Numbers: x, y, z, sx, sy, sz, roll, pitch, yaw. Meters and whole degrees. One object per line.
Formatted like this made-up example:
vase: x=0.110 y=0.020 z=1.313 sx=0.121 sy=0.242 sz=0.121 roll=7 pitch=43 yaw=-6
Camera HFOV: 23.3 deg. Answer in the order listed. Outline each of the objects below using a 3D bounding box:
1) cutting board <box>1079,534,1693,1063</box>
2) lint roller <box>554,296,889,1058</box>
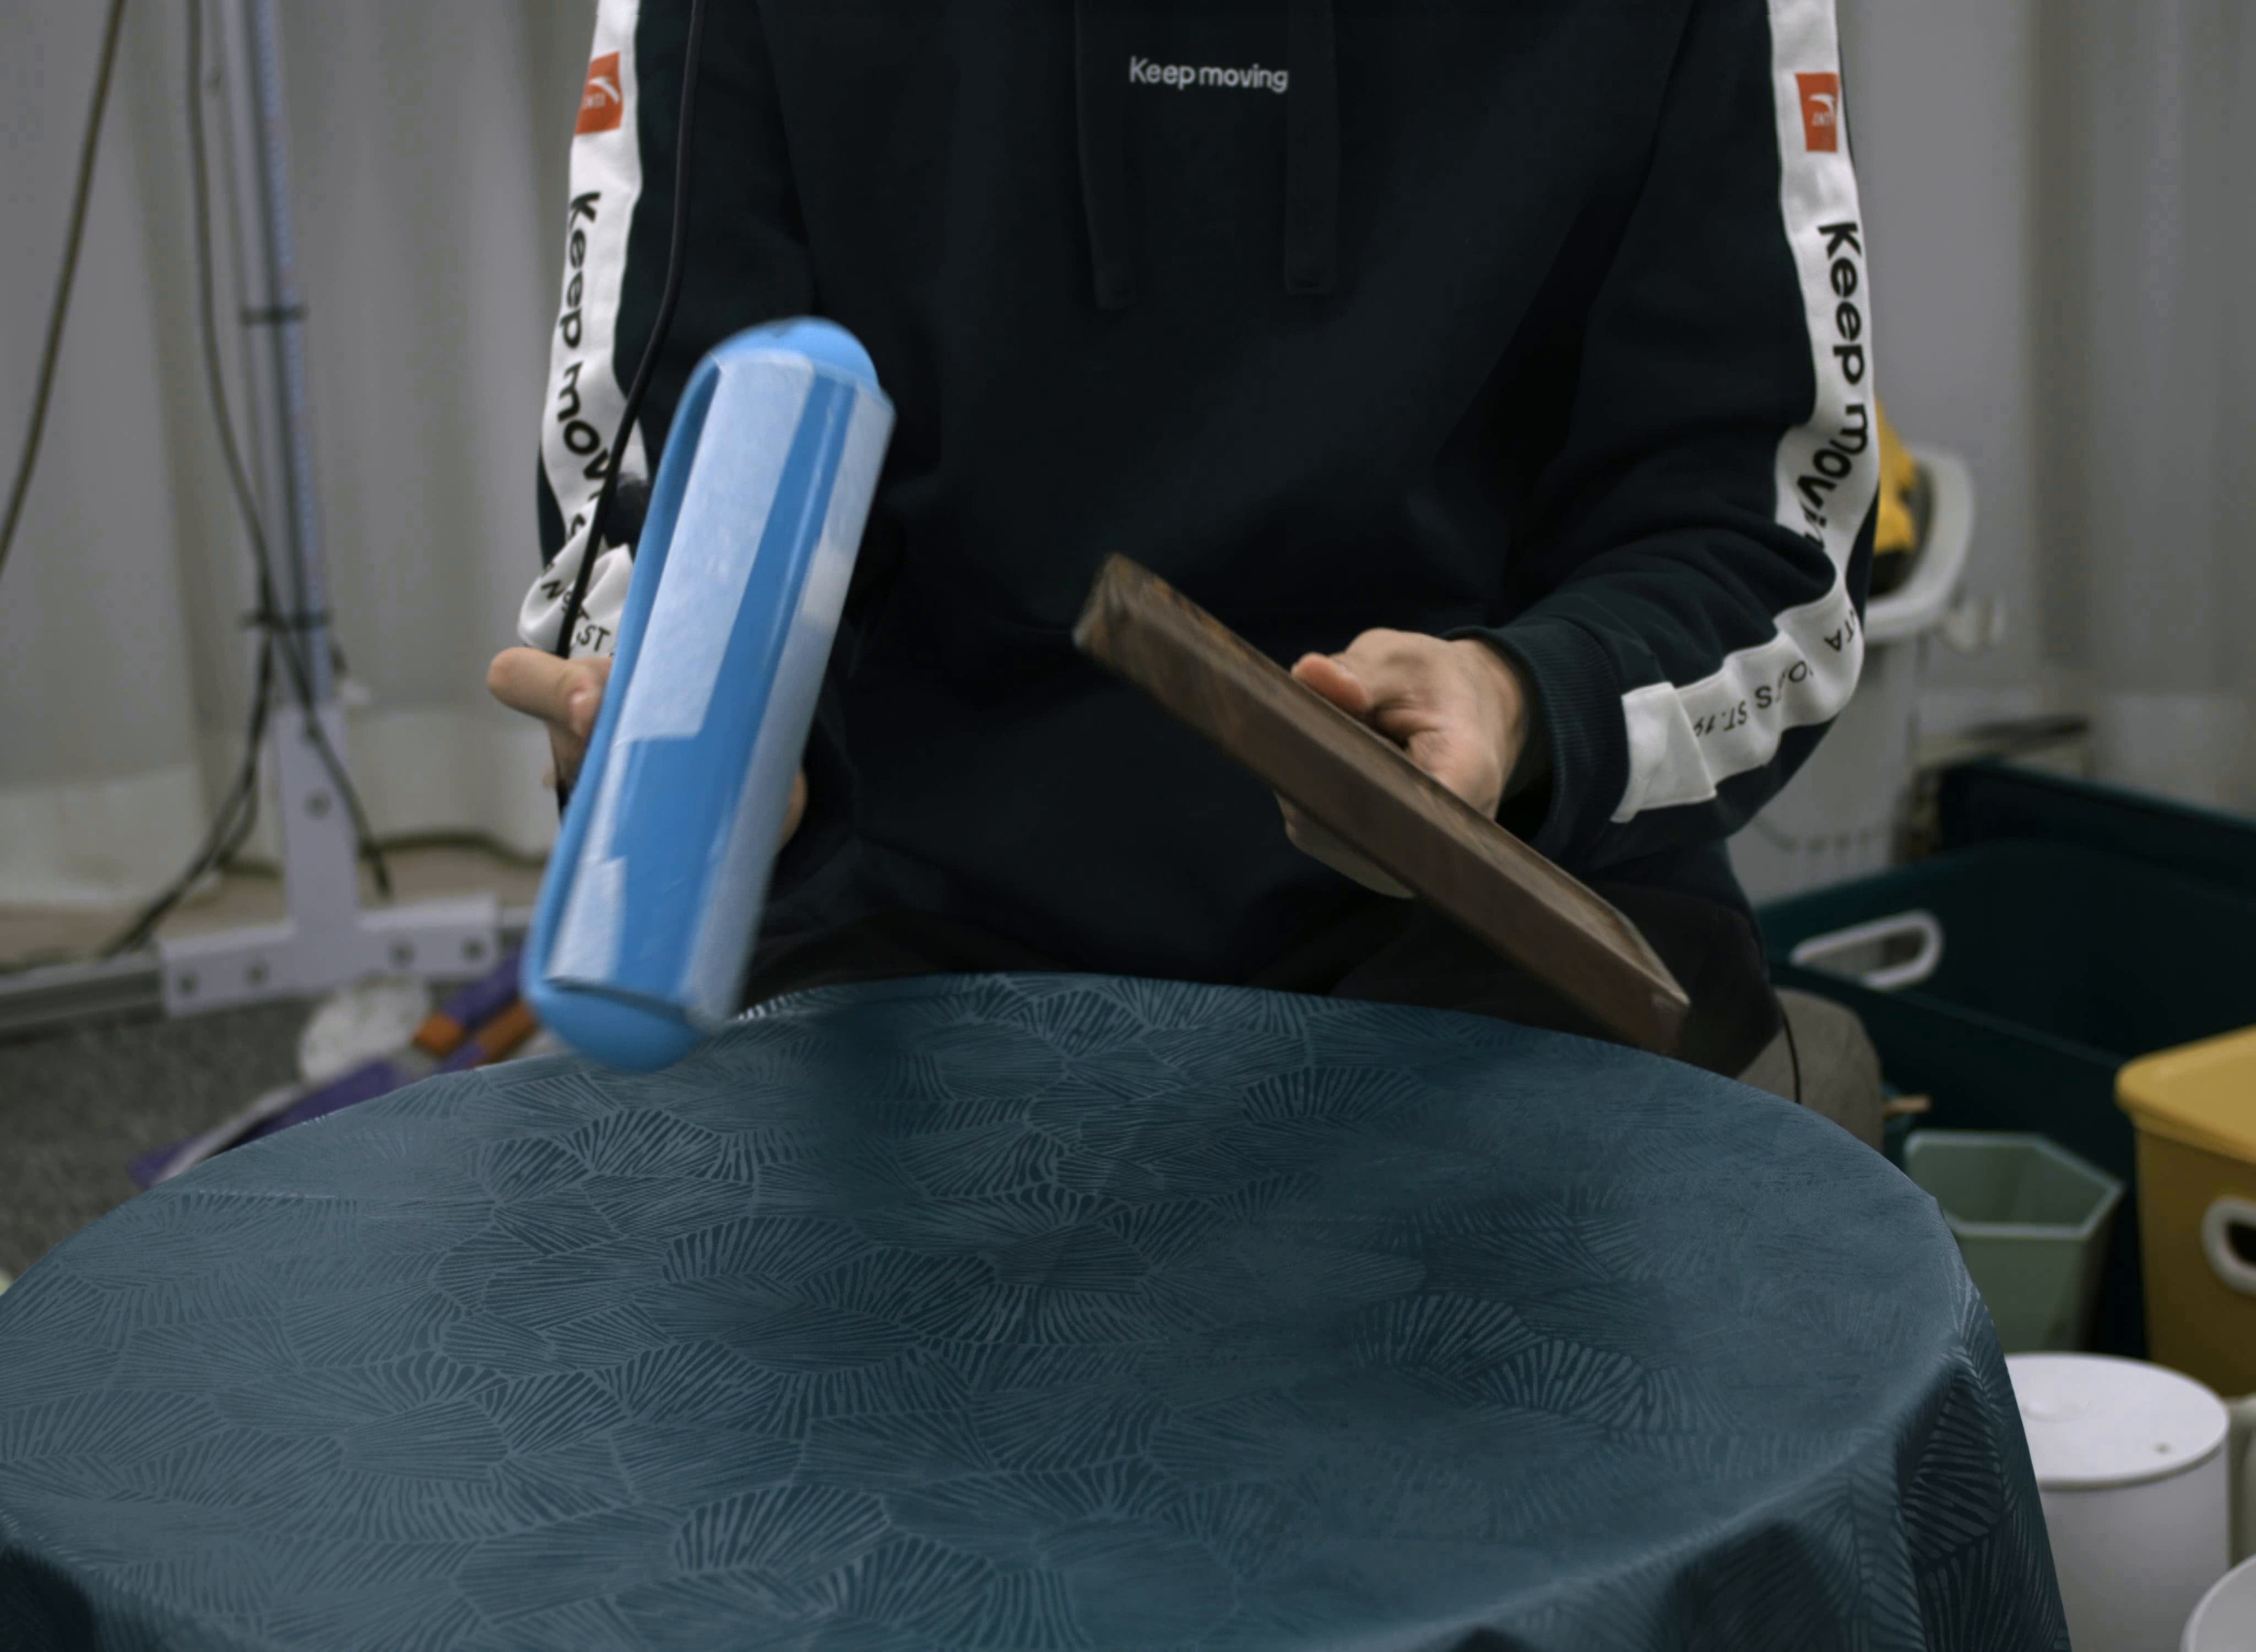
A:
cutting board: x=0.070 y=-0.017 z=1.624 sx=0.201 sy=0.023 sz=0.353 roll=37 pitch=4 yaw=-2
lint roller: x=-0.125 y=-0.032 z=1.643 sx=0.067 sy=0.231 sz=0.179 roll=12 pitch=-15 yaw=-7
